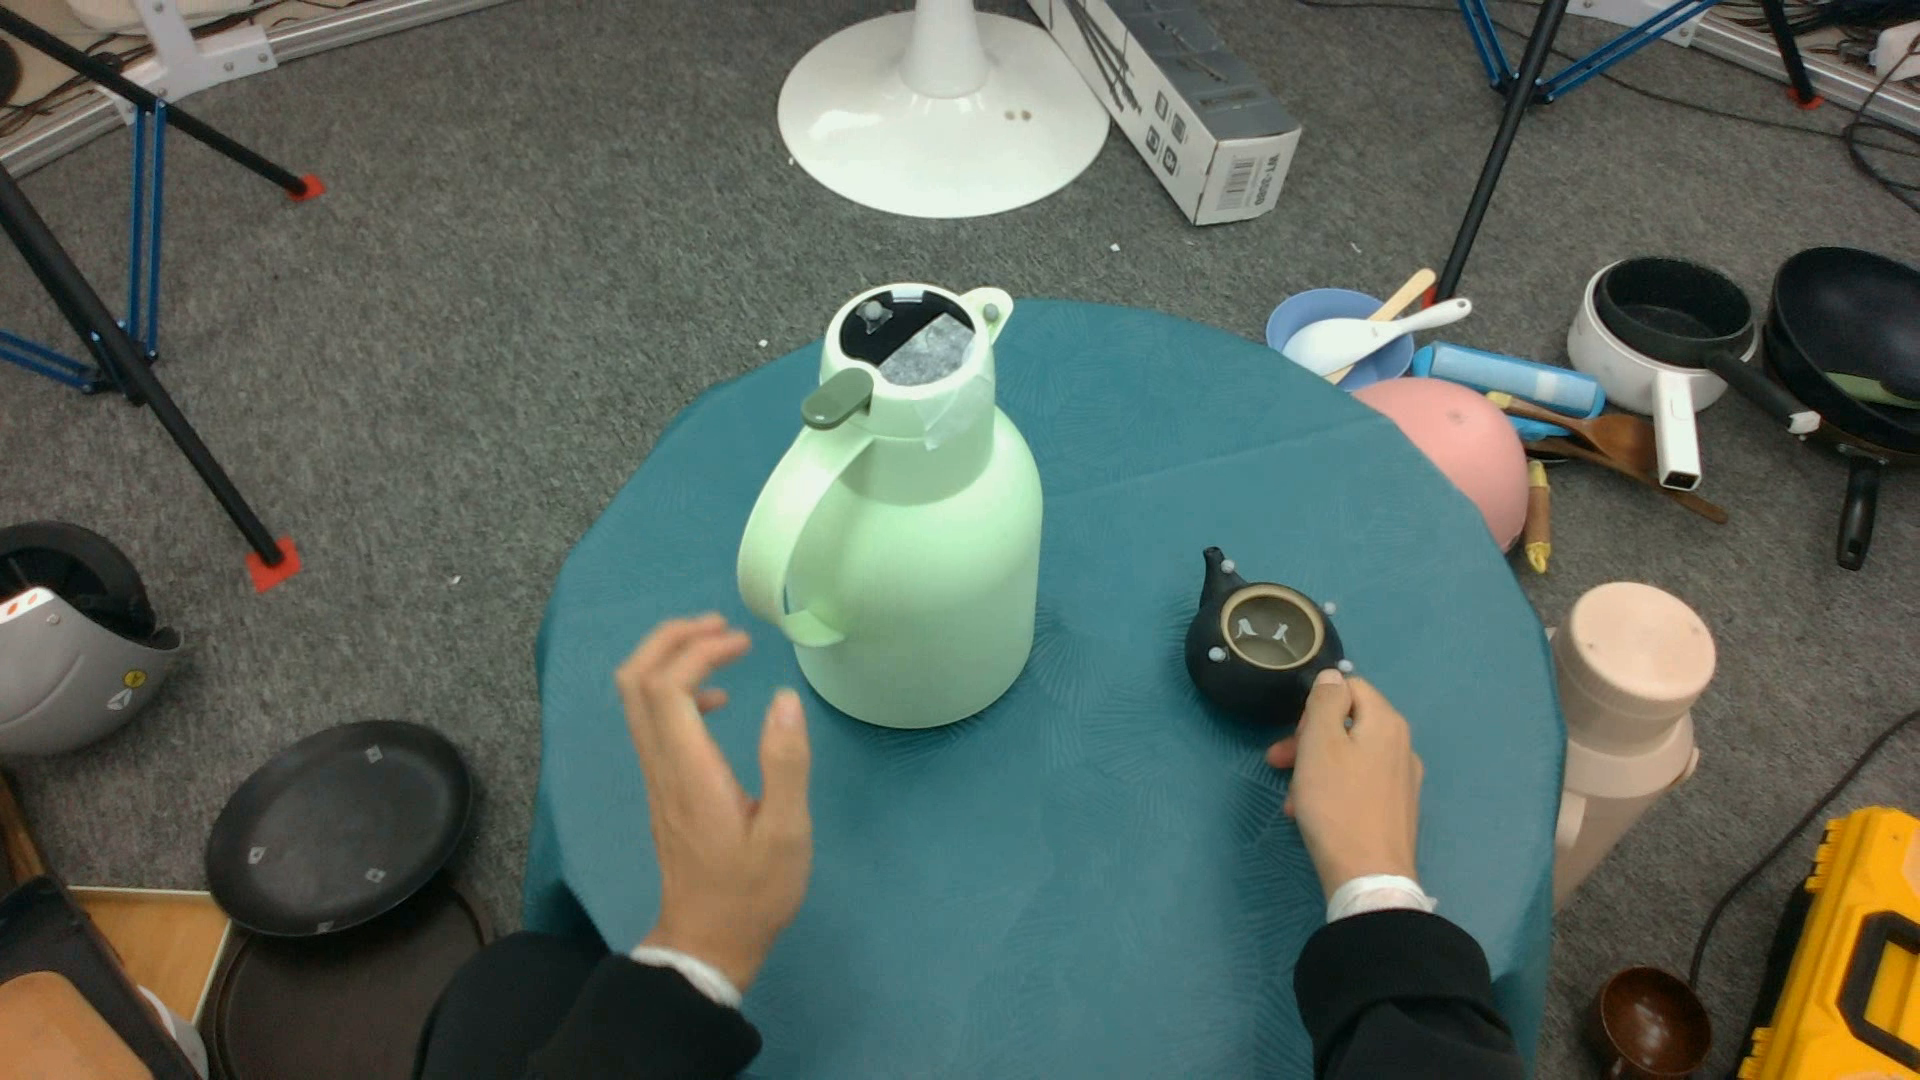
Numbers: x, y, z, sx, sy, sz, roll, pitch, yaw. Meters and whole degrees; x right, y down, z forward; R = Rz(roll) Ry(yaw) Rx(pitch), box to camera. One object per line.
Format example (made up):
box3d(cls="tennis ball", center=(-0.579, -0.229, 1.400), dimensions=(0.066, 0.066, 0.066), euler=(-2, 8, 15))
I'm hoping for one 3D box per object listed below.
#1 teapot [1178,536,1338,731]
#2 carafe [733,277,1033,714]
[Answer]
box3d(cls="teapot", center=(0.173, 0.058, 0.795), dimensions=(0.091, 0.053, 0.133), euler=(-23, 54, -15))
box3d(cls="carafe", center=(-0.040, -0.014, 0.724), dimensions=(0.144, 0.255, 0.187), euler=(32, 62, 19))
